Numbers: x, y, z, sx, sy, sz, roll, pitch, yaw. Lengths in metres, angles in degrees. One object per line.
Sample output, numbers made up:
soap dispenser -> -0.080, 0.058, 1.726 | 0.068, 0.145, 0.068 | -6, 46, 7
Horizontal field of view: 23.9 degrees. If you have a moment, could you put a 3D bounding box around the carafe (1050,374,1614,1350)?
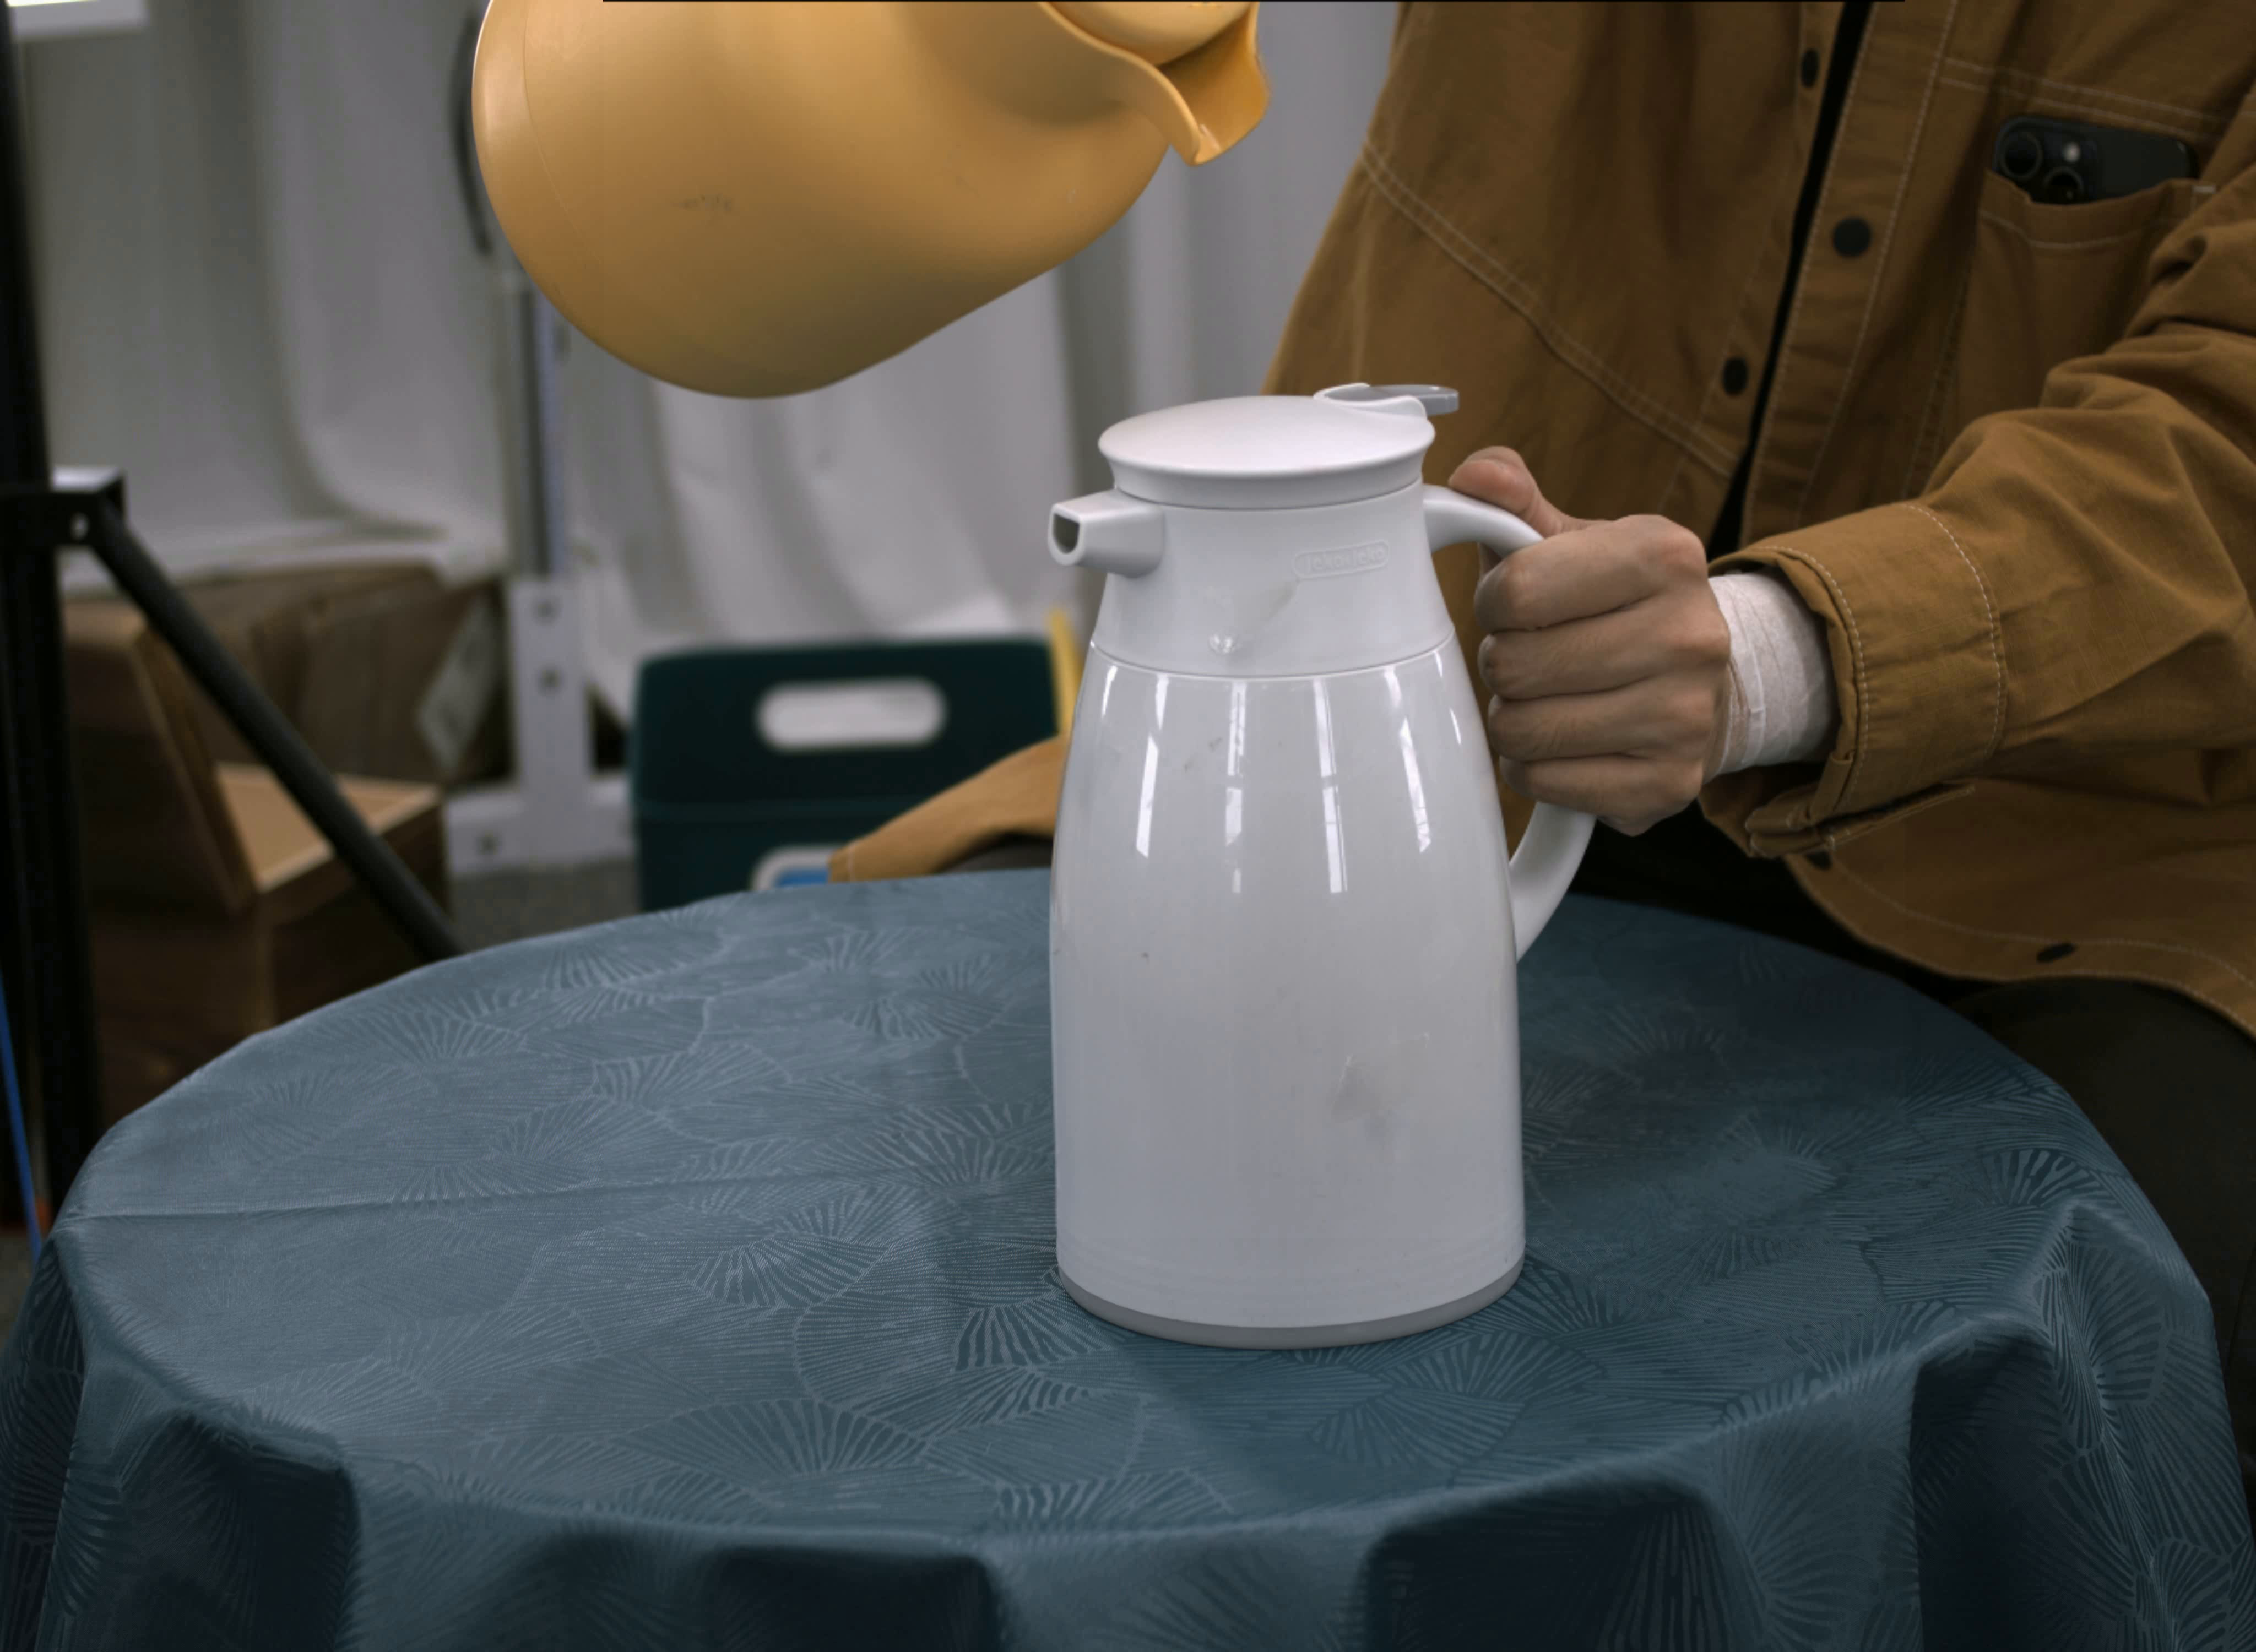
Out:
carafe -> 0.058, 0.002, 1.467 | 0.164, 0.248, 0.135 | -9, 16, -25

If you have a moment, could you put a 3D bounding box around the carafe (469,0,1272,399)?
carafe -> -0.071, -0.245, 1.510 | 0.160, 0.203, 0.265 | -25, 3, -39
